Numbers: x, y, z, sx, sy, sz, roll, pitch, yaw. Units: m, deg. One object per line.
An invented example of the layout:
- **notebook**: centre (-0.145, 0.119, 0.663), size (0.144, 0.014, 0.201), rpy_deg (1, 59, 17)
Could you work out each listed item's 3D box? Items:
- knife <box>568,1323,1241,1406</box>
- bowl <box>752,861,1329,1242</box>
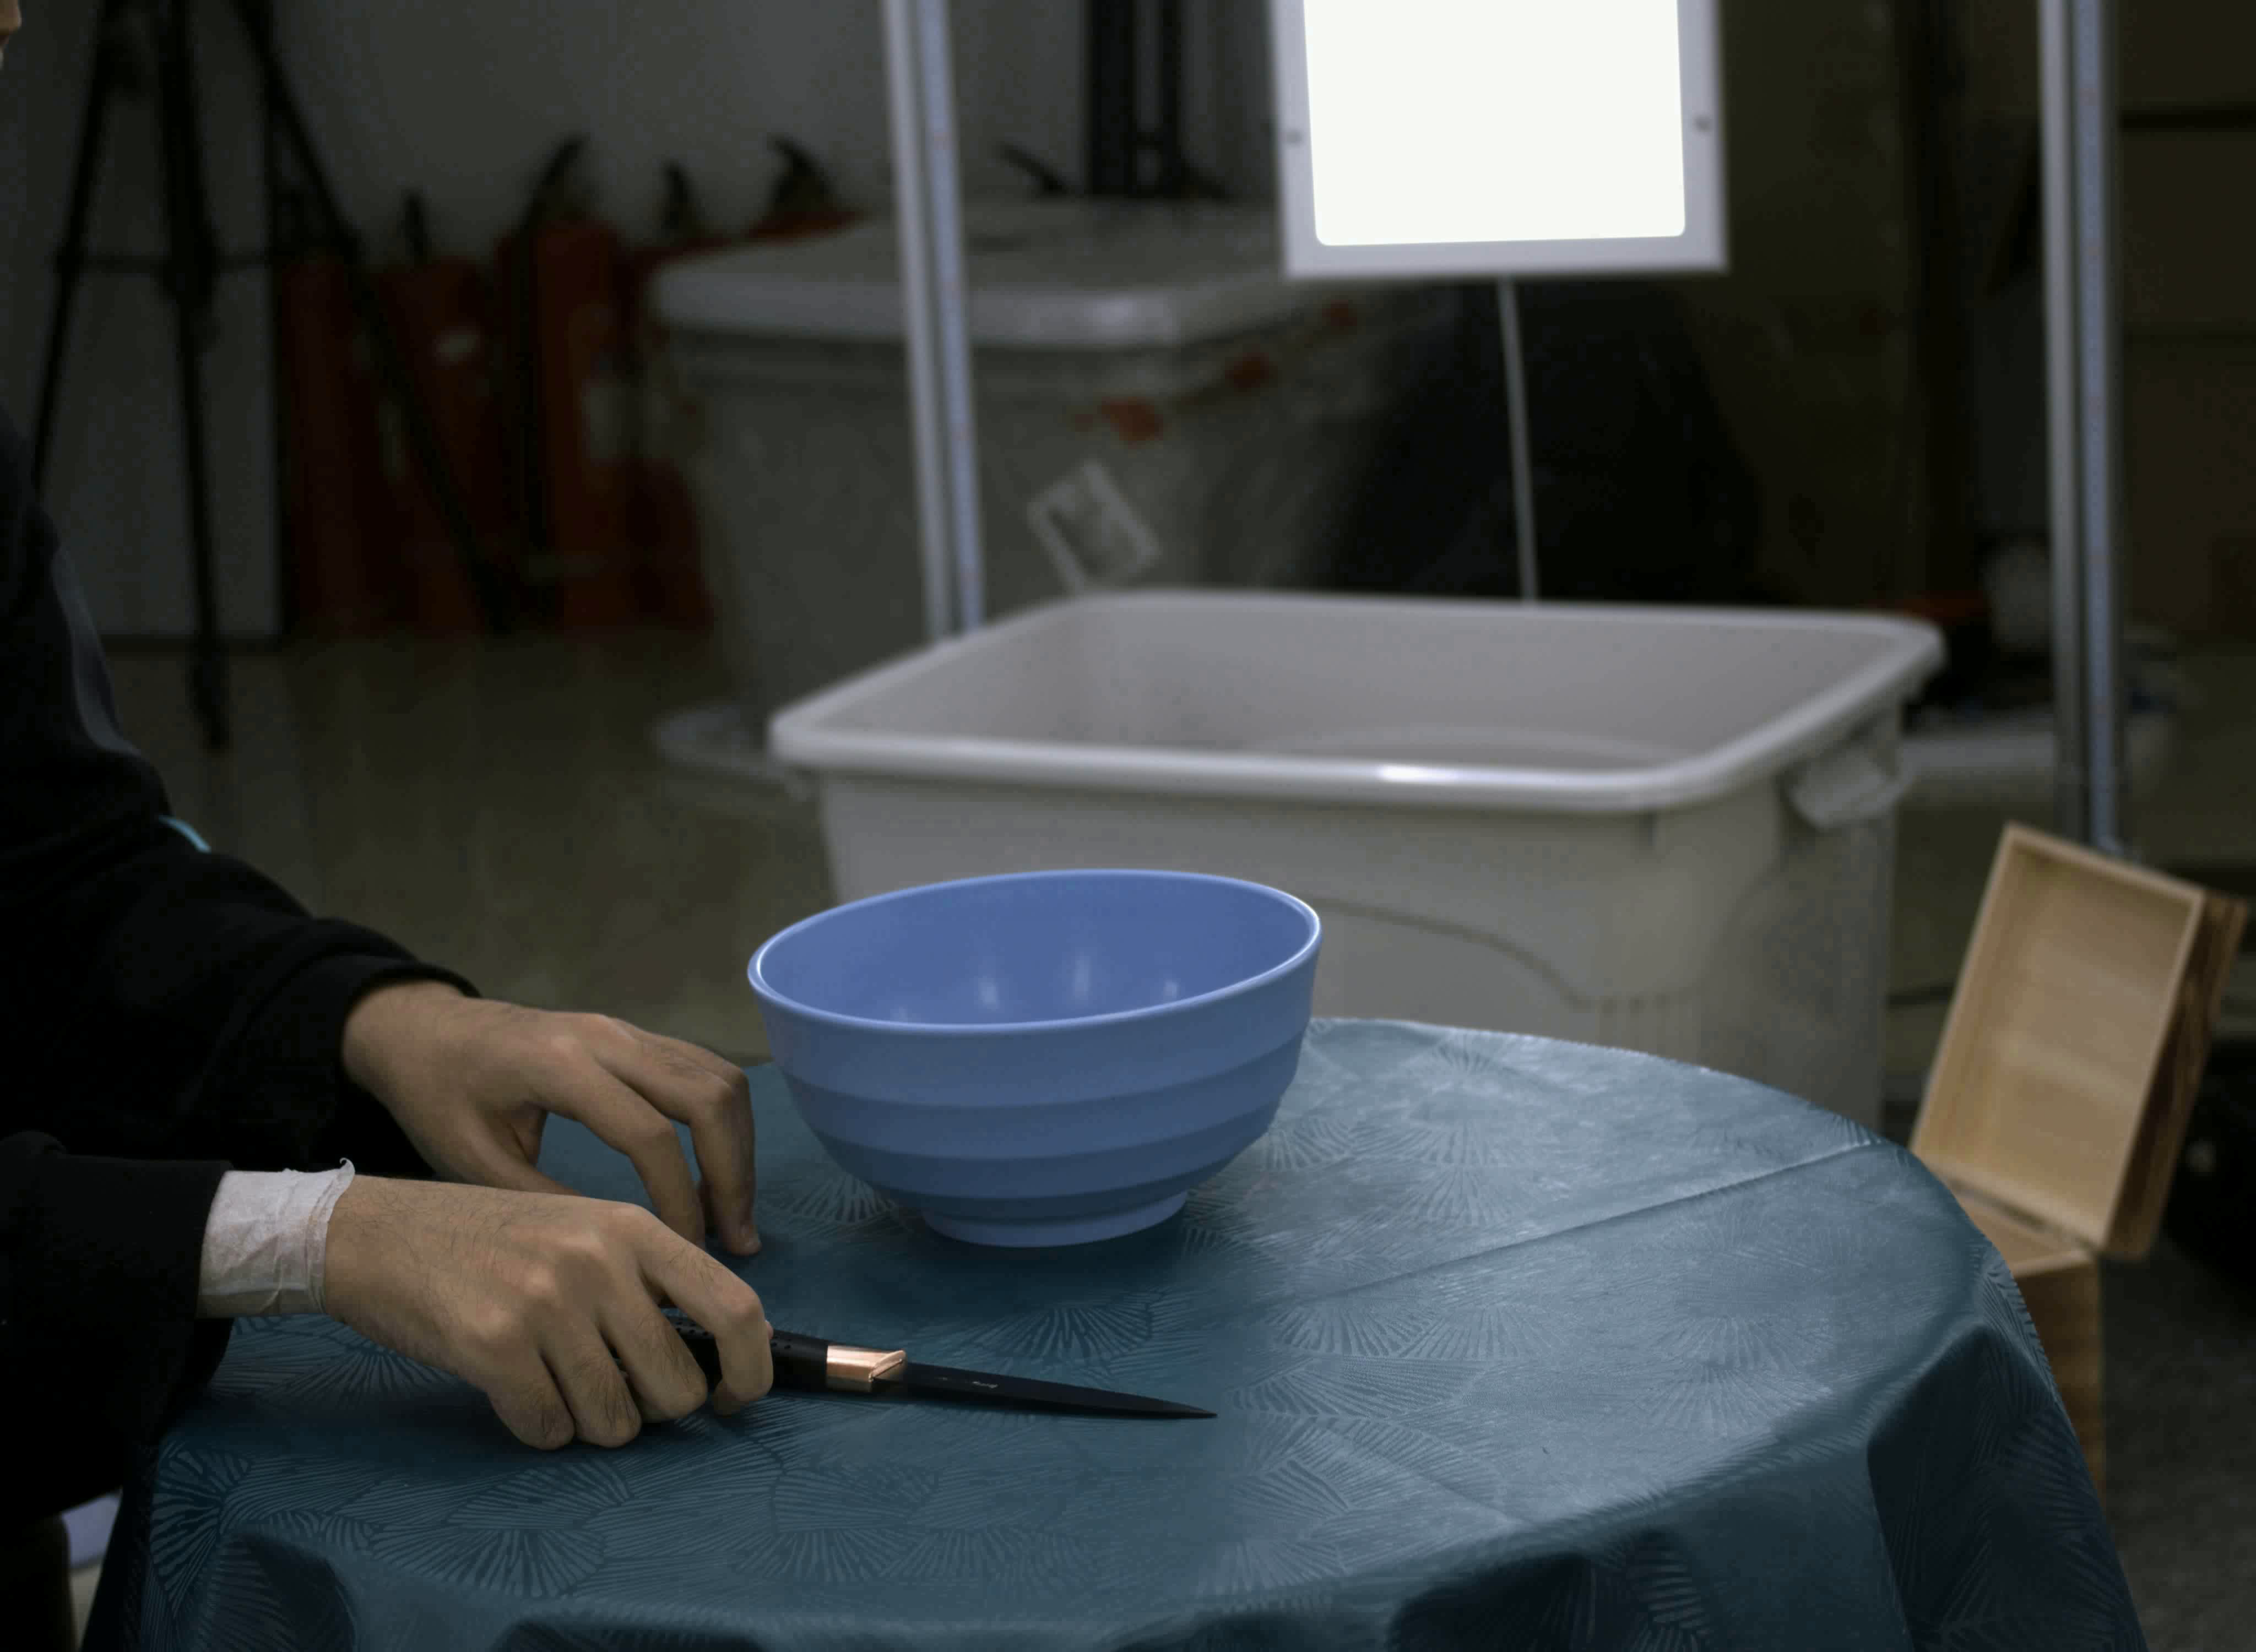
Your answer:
- **knife**: centre (-0.072, 0.171, 1.722), size (0.229, 0.017, 0.026), rpy_deg (3, 10, 24)
- **bowl**: centre (-0.028, 0.082, 1.877), size (0.196, 0.096, 0.196), rpy_deg (-2, 14, -1)
